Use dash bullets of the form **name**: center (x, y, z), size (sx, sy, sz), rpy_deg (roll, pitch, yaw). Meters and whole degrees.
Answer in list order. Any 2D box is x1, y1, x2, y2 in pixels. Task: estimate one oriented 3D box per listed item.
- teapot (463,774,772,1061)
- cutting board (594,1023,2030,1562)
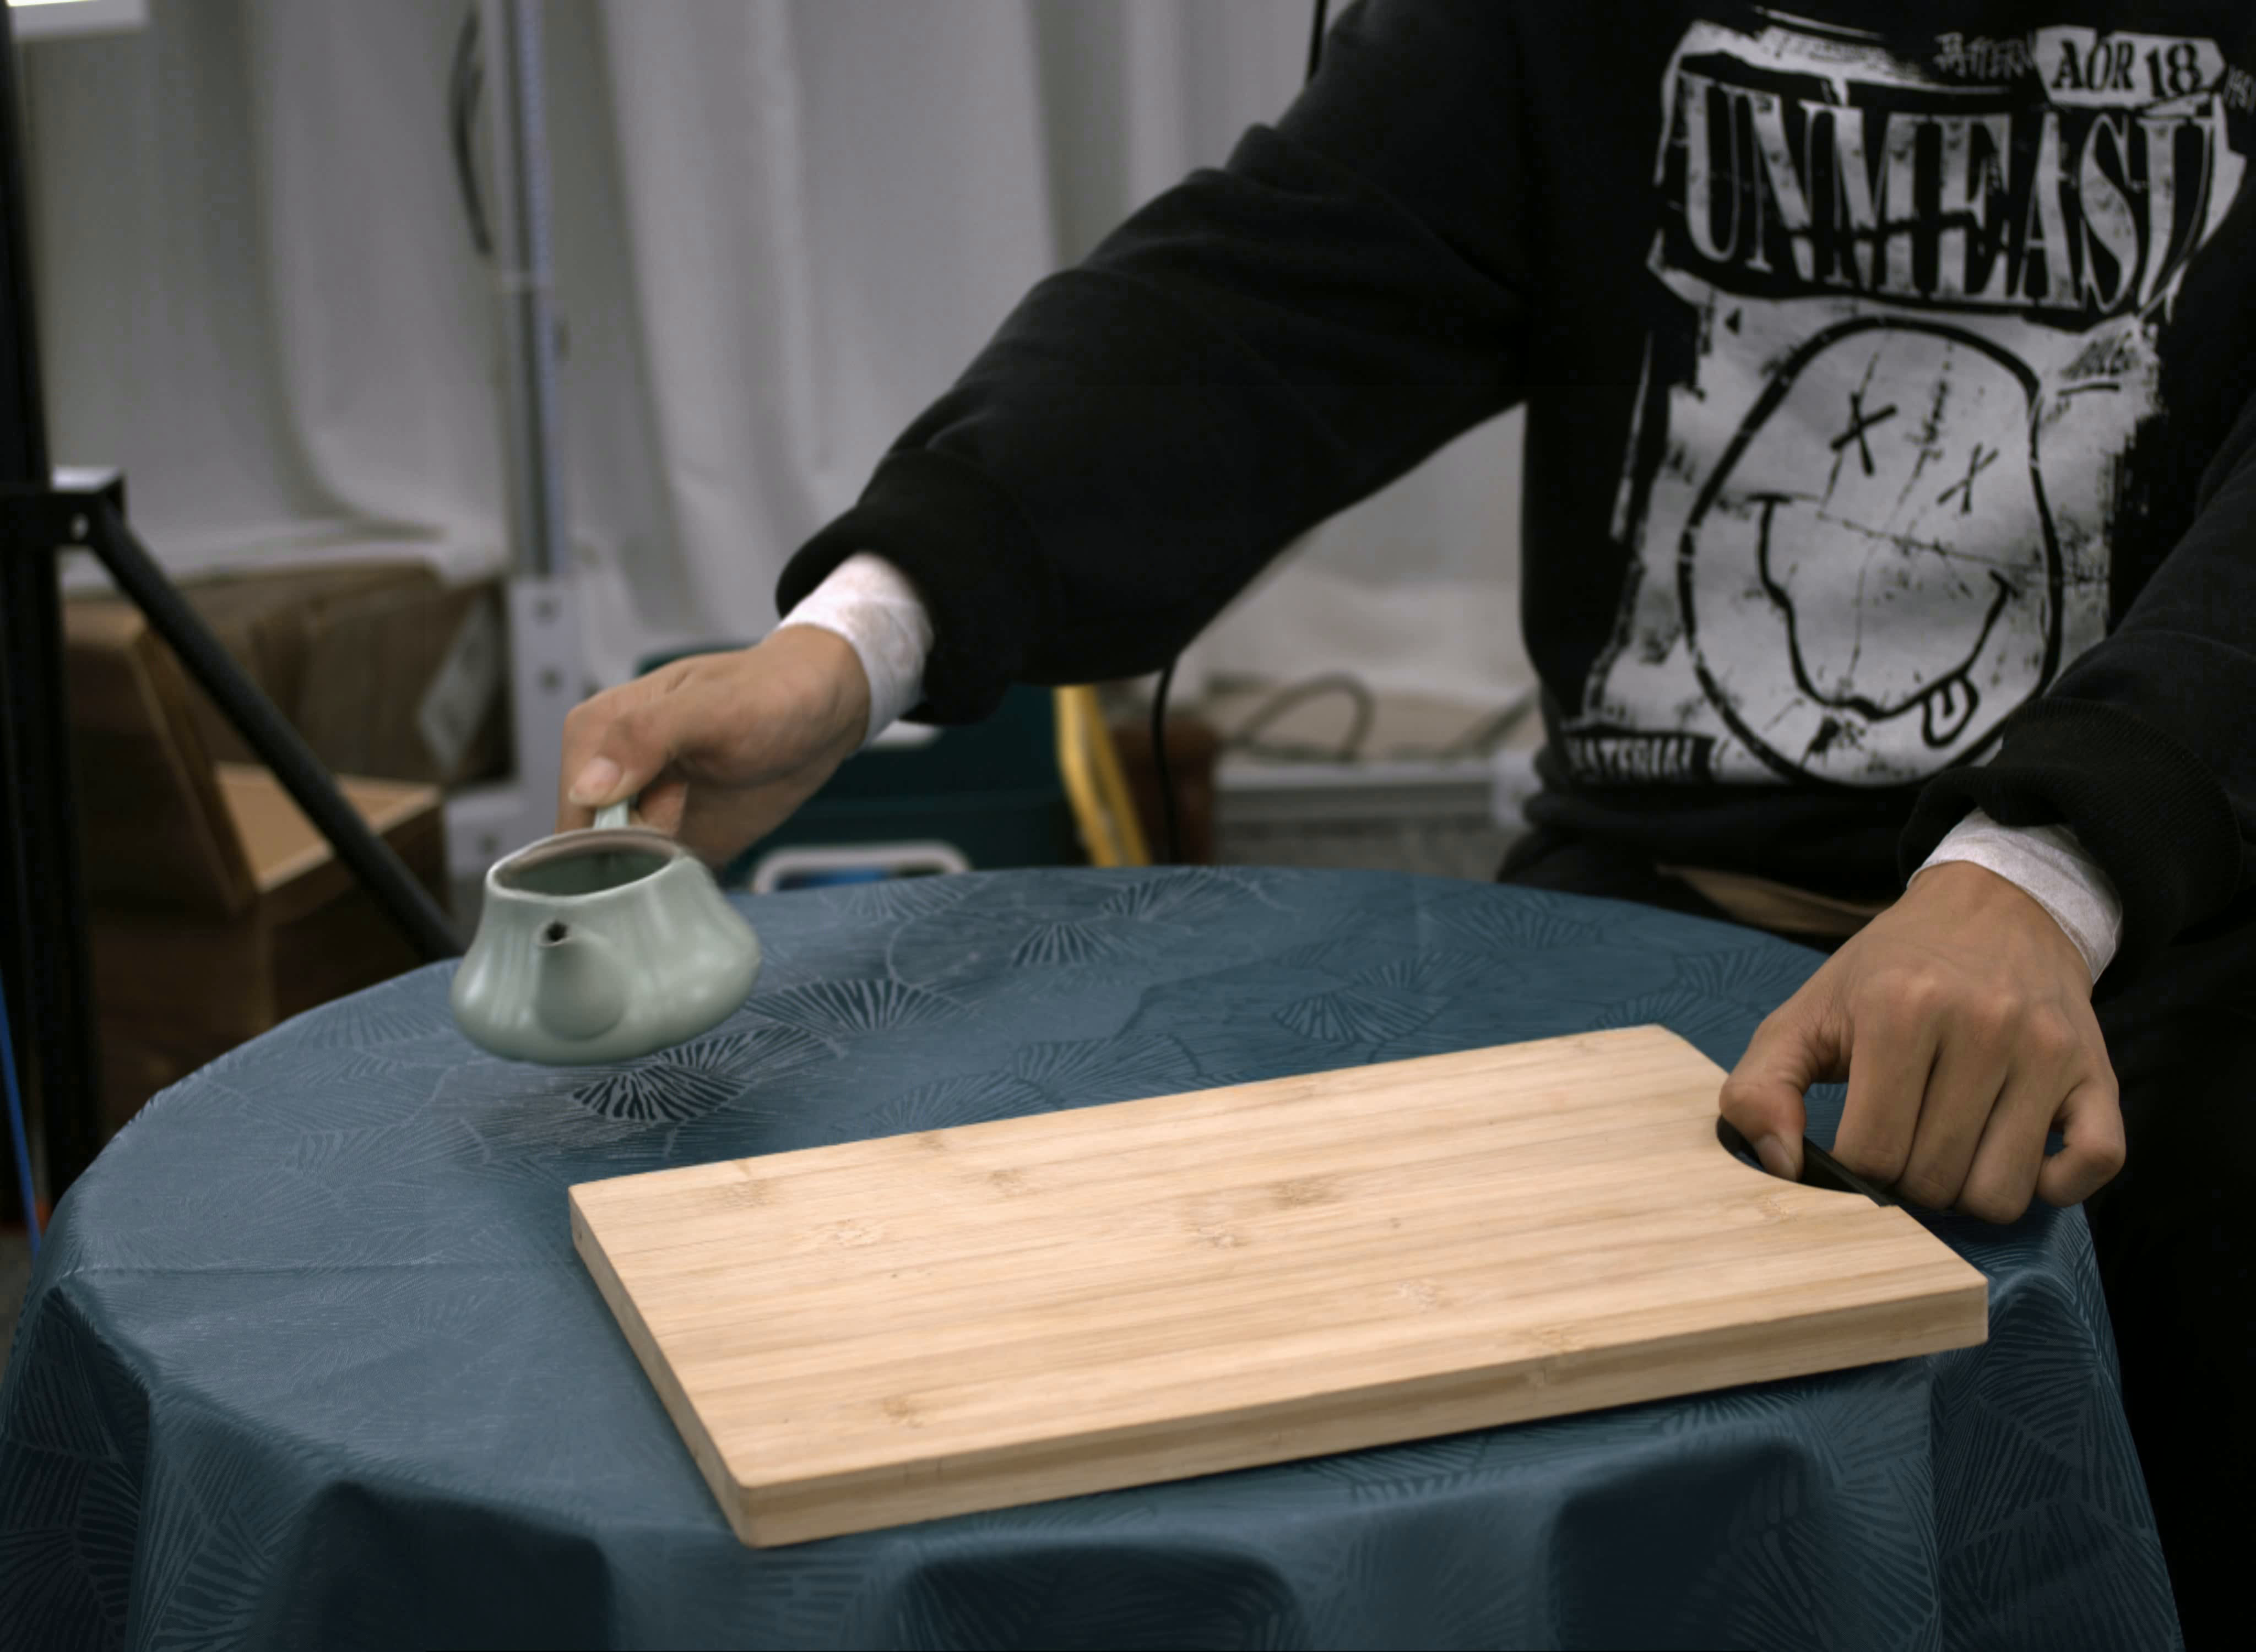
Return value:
- **teapot**: center (-0.159, 0.032, 1.640), size (0.096, 0.061, 0.137), rpy_deg (-9, 21, 4)
- **cutting board**: center (0.039, 0.120, 1.461), size (0.343, 0.023, 0.254), rpy_deg (-8, 17, -14)
